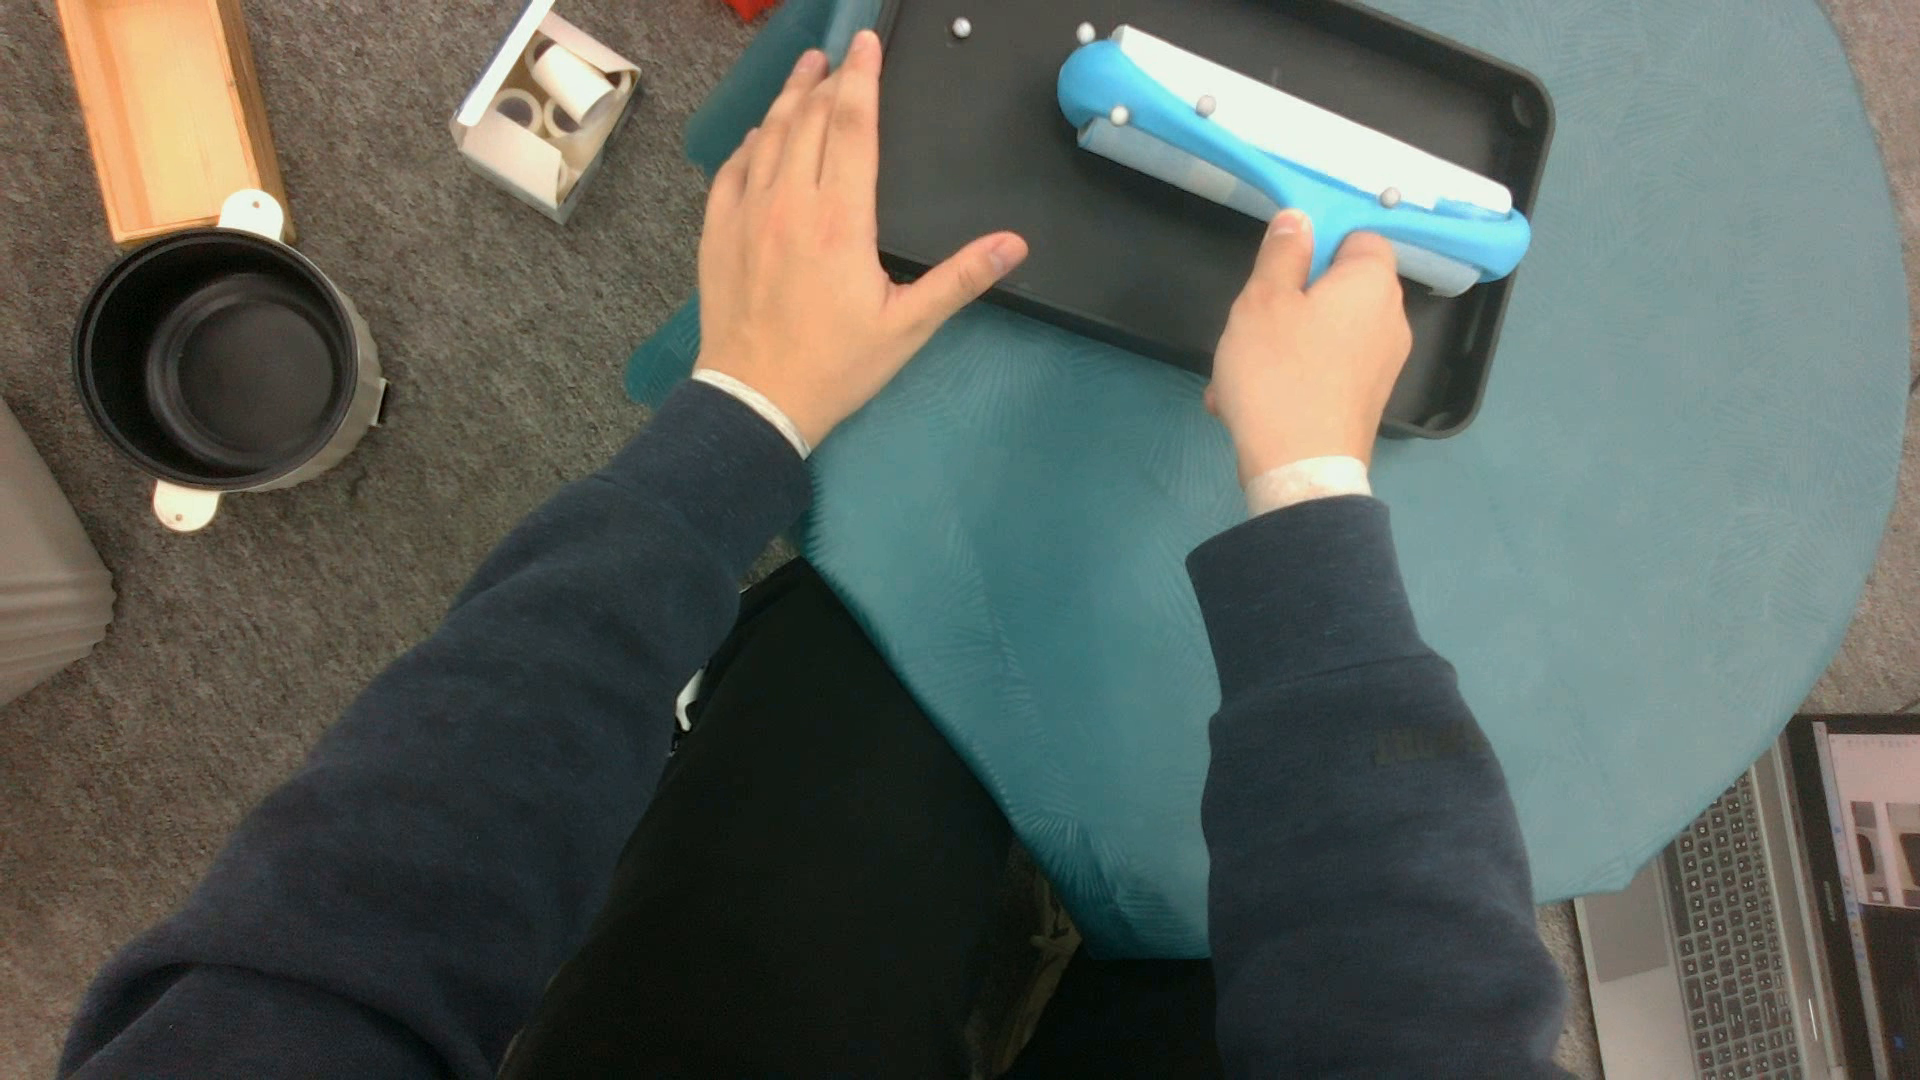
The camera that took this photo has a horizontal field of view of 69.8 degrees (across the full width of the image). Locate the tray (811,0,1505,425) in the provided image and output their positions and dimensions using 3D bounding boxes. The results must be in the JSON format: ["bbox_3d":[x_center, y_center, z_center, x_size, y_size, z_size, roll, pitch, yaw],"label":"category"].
[{"bbox_3d":[0.099,-0.176,0.654,0.318,0.037,0.184,14,85,-12],"label":"tray"}]

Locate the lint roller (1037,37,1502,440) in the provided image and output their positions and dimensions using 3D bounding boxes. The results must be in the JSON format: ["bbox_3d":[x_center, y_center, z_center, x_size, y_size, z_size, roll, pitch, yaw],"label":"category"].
[{"bbox_3d":[0.139,-0.130,0.610,0.229,0.067,0.181,16,53,-11],"label":"lint roller"}]
